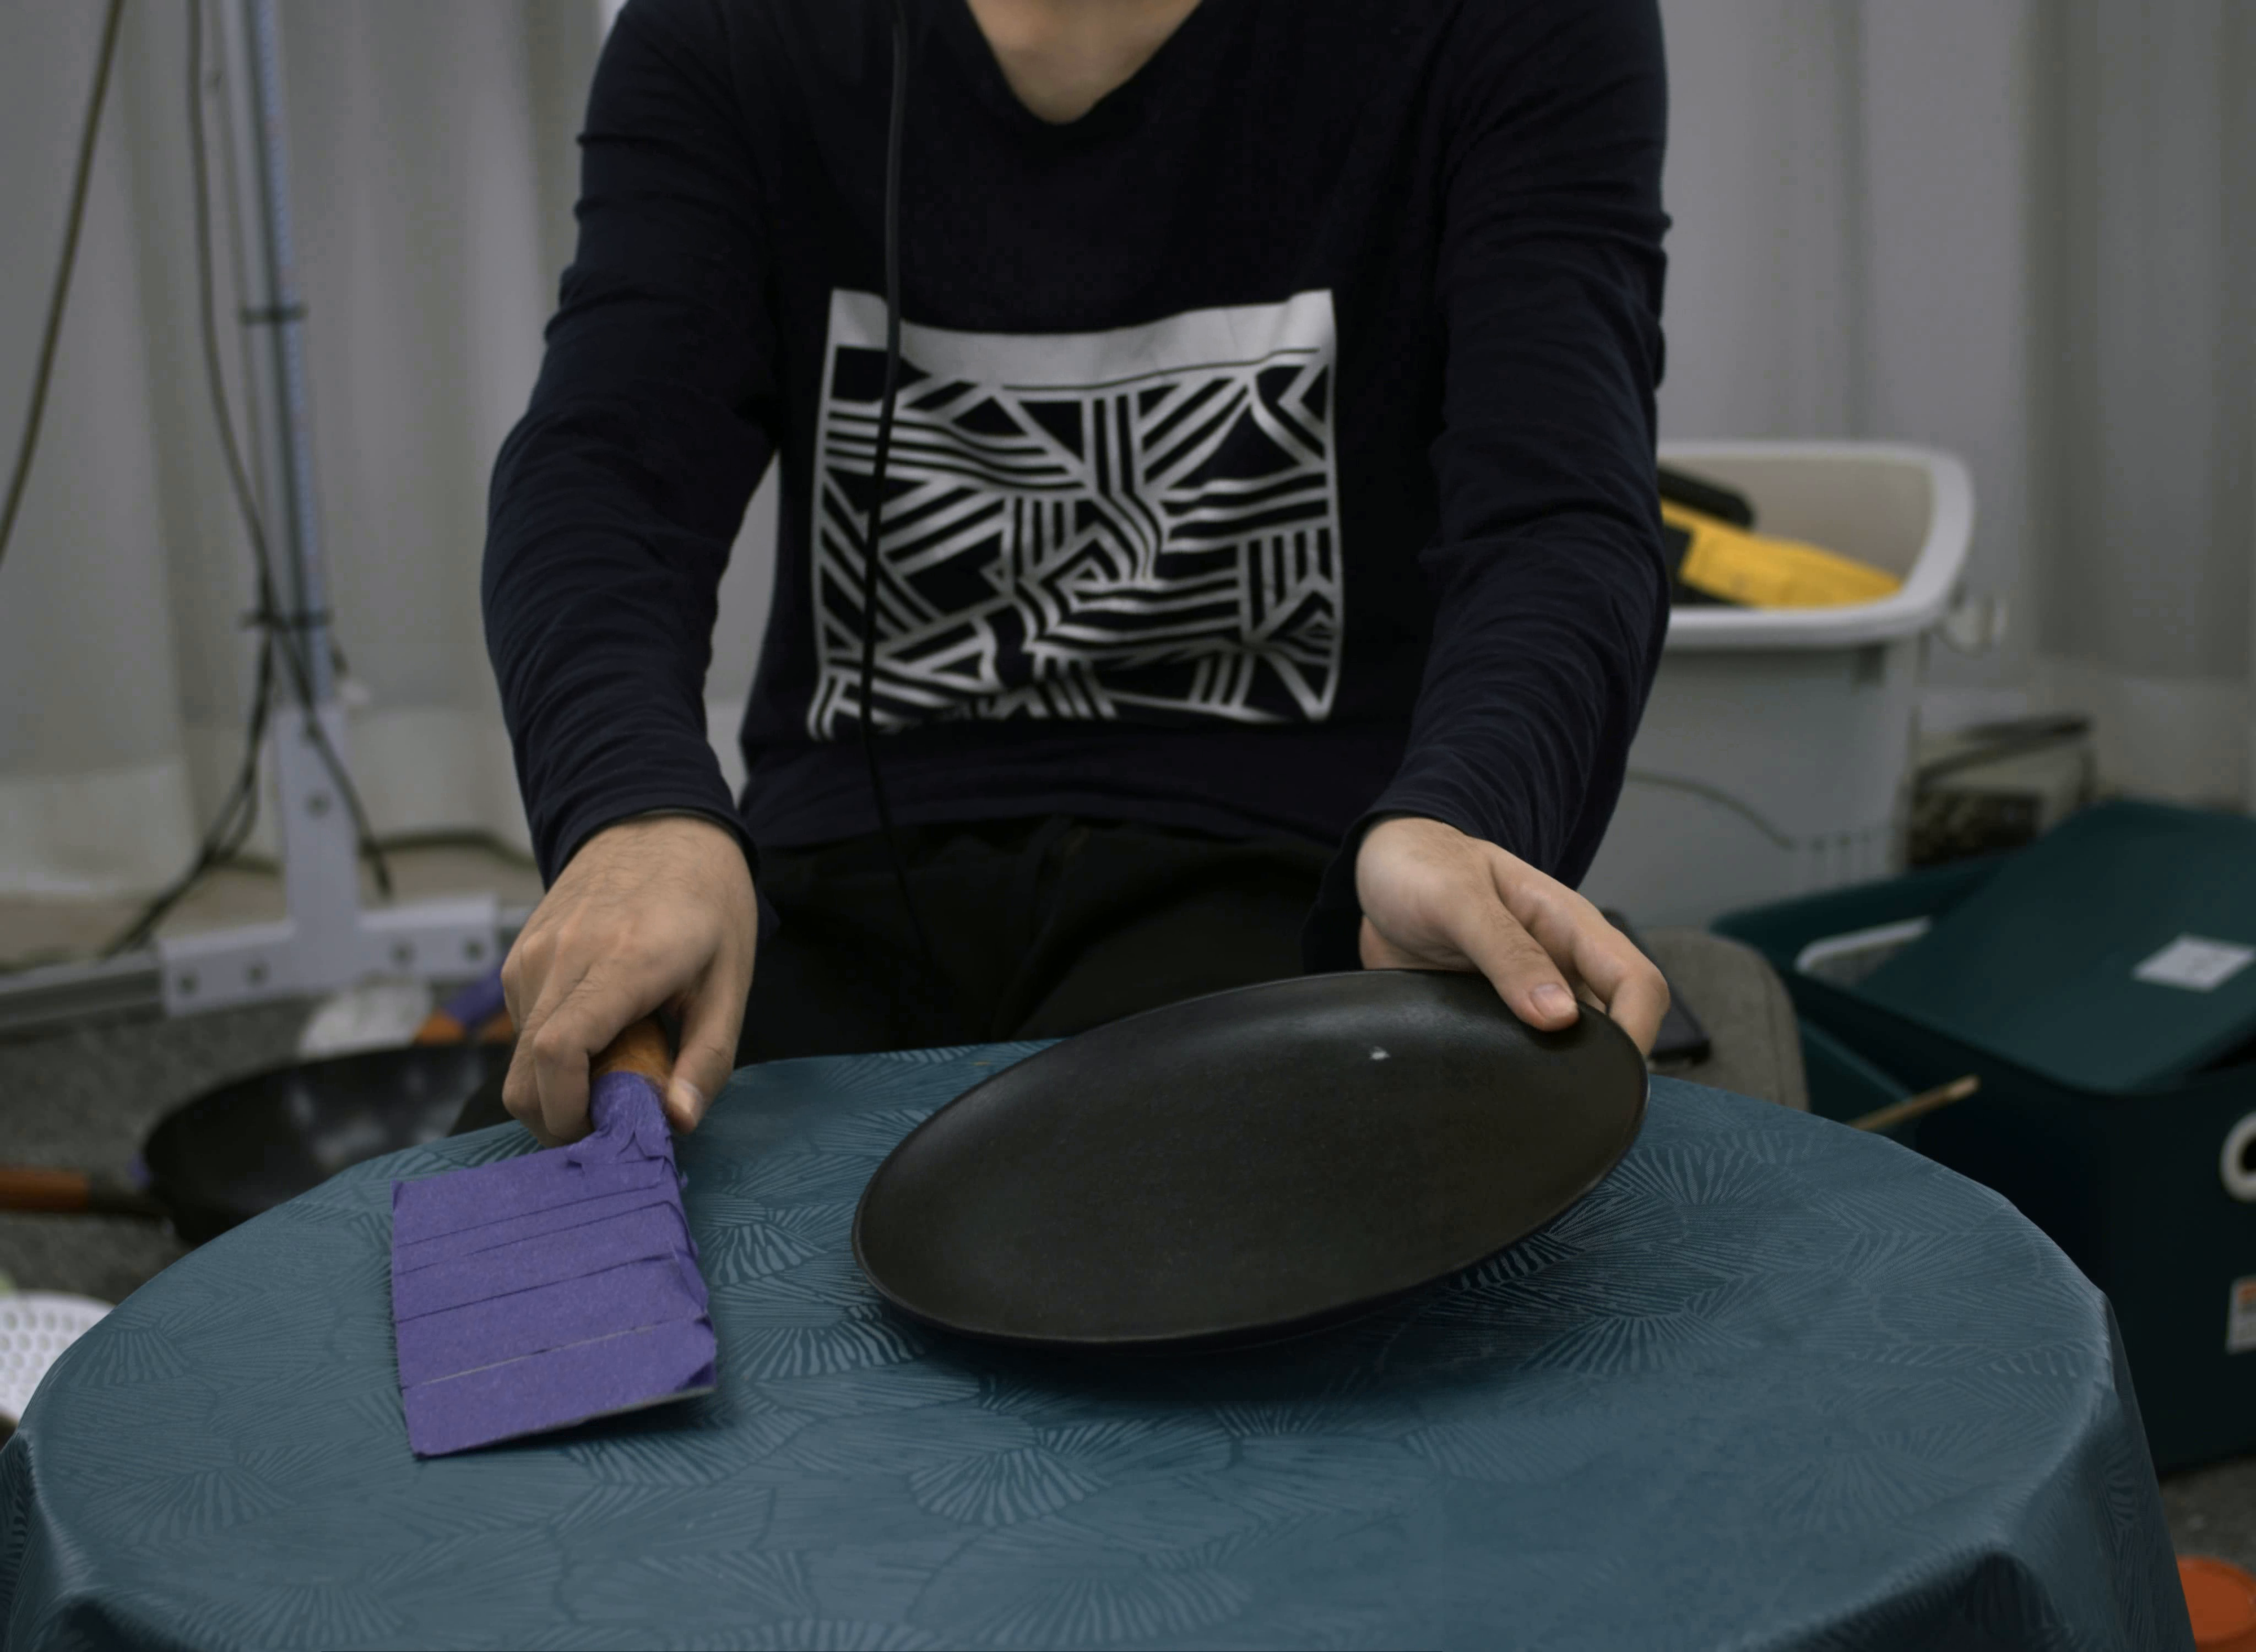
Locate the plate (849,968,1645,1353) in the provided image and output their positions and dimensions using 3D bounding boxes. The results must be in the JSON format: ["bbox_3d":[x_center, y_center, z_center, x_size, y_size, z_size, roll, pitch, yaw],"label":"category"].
[{"bbox_3d":[0.036,0.104,1.636,0.244,0.023,0.246,-12,20,4],"label":"plate"}]

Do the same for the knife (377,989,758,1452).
[{"bbox_3d":[-0.179,0.116,1.668,0.103,0.032,0.318,-11,17,-6],"label":"knife"}]
